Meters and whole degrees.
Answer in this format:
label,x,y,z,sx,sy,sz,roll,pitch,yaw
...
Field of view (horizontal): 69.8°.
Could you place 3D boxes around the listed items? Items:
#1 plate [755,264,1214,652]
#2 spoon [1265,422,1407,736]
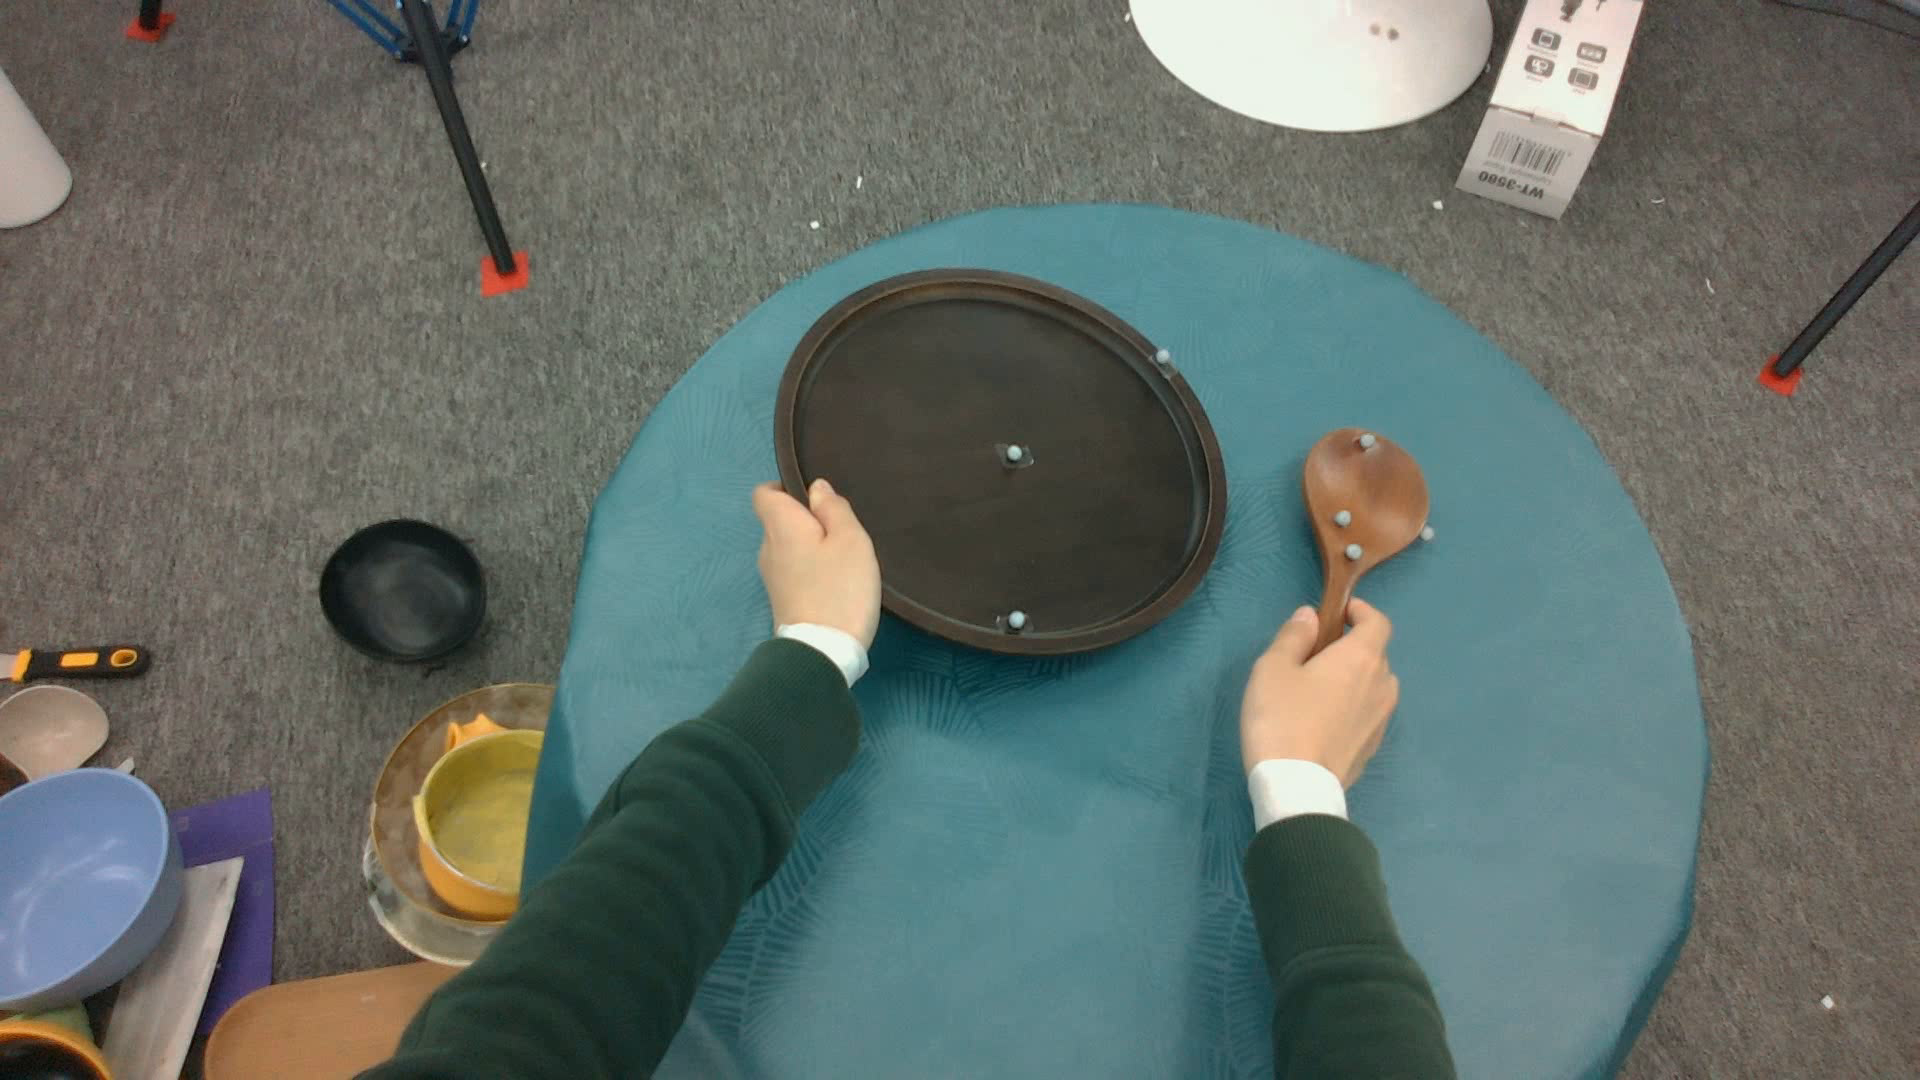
label,x,y,z,sx,sy,sz,roll,pitch,yaw
plate,0.015,-0.050,0.748,0.255,0.029,0.256,8,55,-11
spoon,0.193,0.016,0.732,0.075,0.017,0.217,25,51,0
